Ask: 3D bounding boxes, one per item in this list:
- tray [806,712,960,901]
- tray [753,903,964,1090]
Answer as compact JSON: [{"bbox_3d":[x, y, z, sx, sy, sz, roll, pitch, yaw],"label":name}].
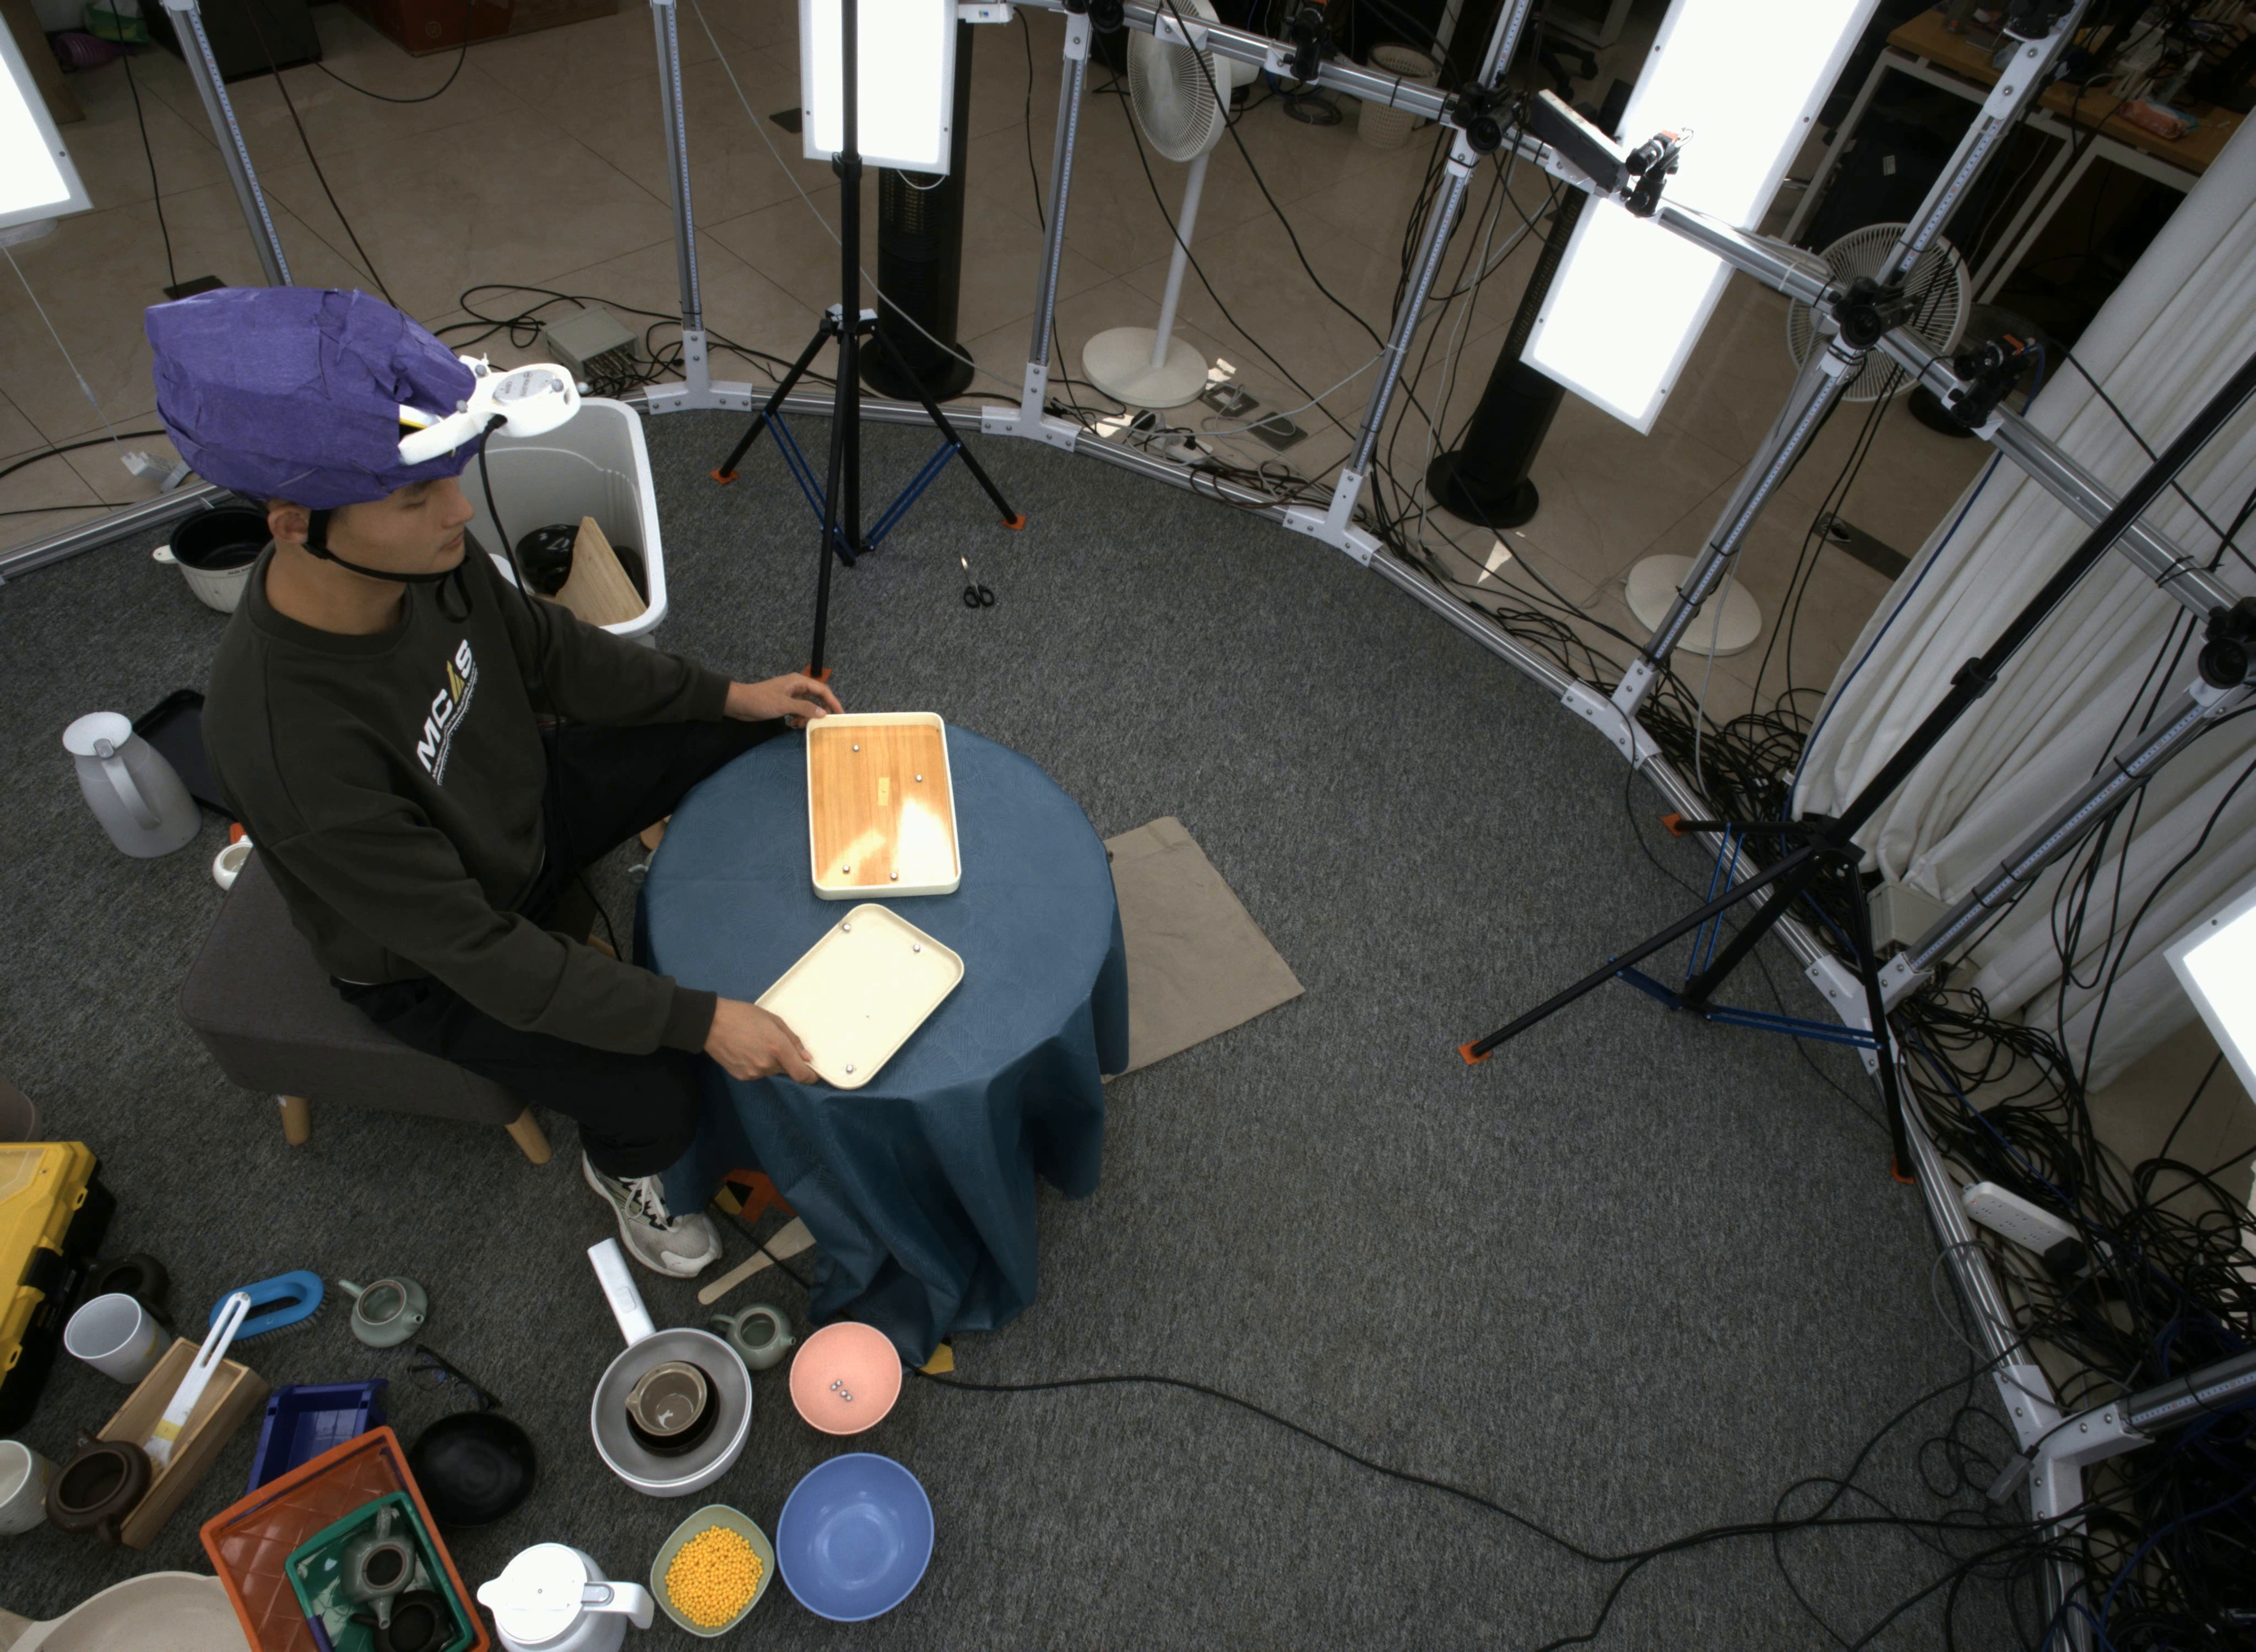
[{"bbox_3d":[-0.336,-0.034,1.764,0.192,0.028,0.293,-2,54,-15],"label":"tray"},{"bbox_3d":[-0.325,0.203,1.586,0.168,0.018,0.239,33,49,9],"label":"tray"}]
